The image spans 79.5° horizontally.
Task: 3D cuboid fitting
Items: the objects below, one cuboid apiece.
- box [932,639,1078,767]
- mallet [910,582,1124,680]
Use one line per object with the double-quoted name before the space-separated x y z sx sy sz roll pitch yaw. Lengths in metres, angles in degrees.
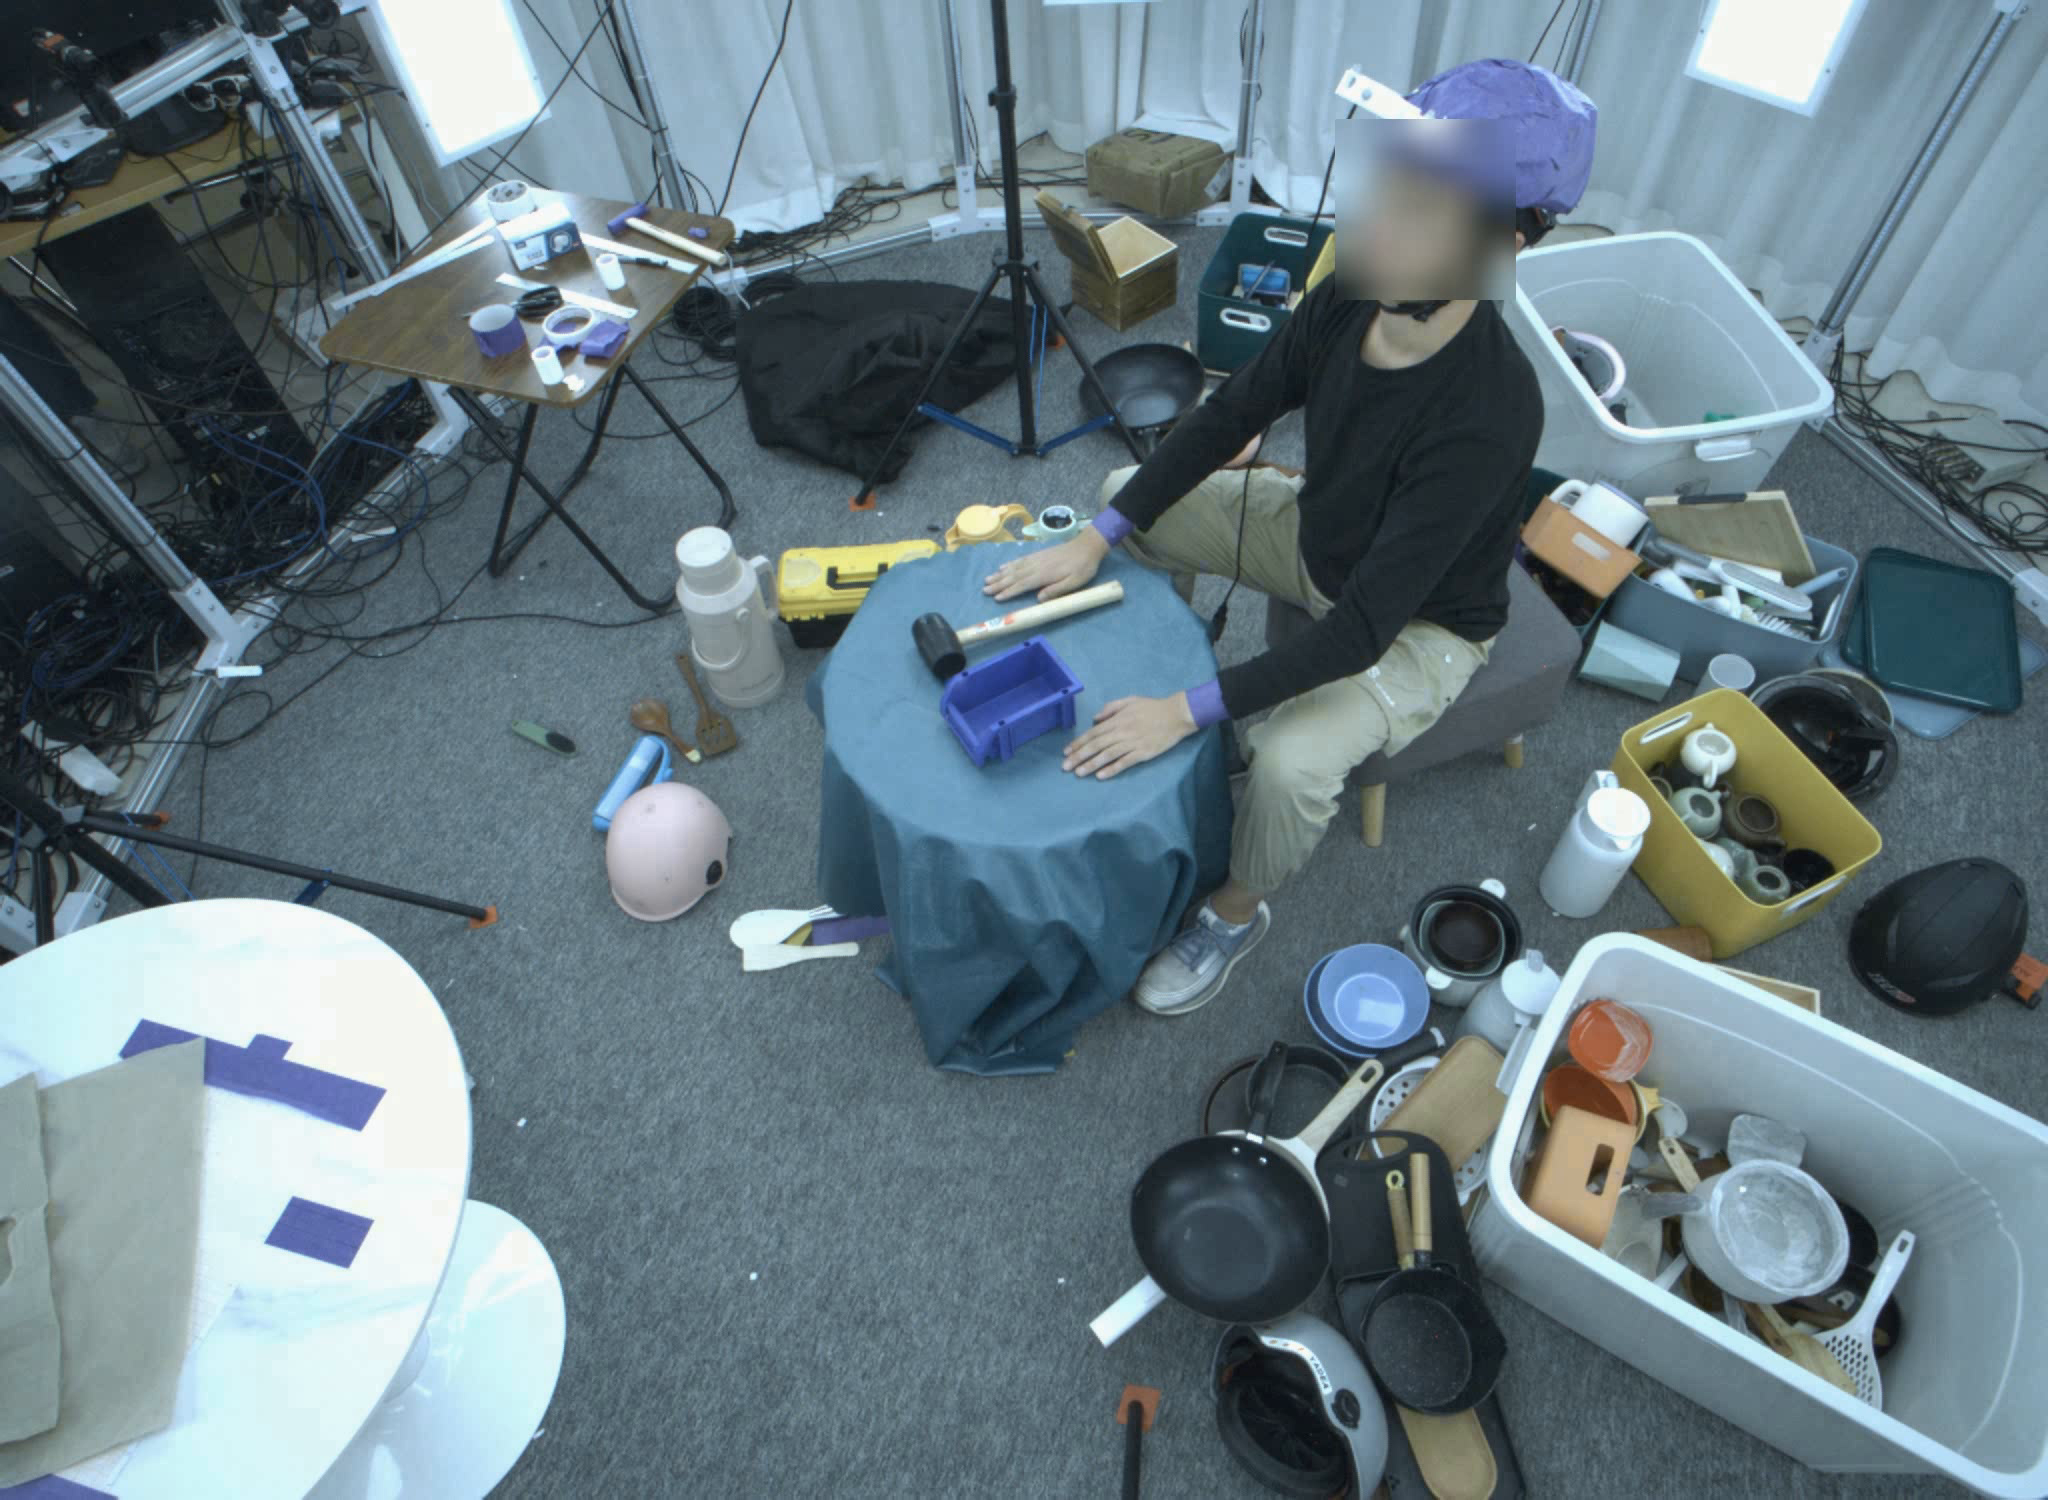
"box" -0.028 -0.064 1.779 0.181 0.082 0.122 -24 57 -18
"mallet" -0.006 -0.206 1.893 0.341 0.065 0.100 -20 57 -13
